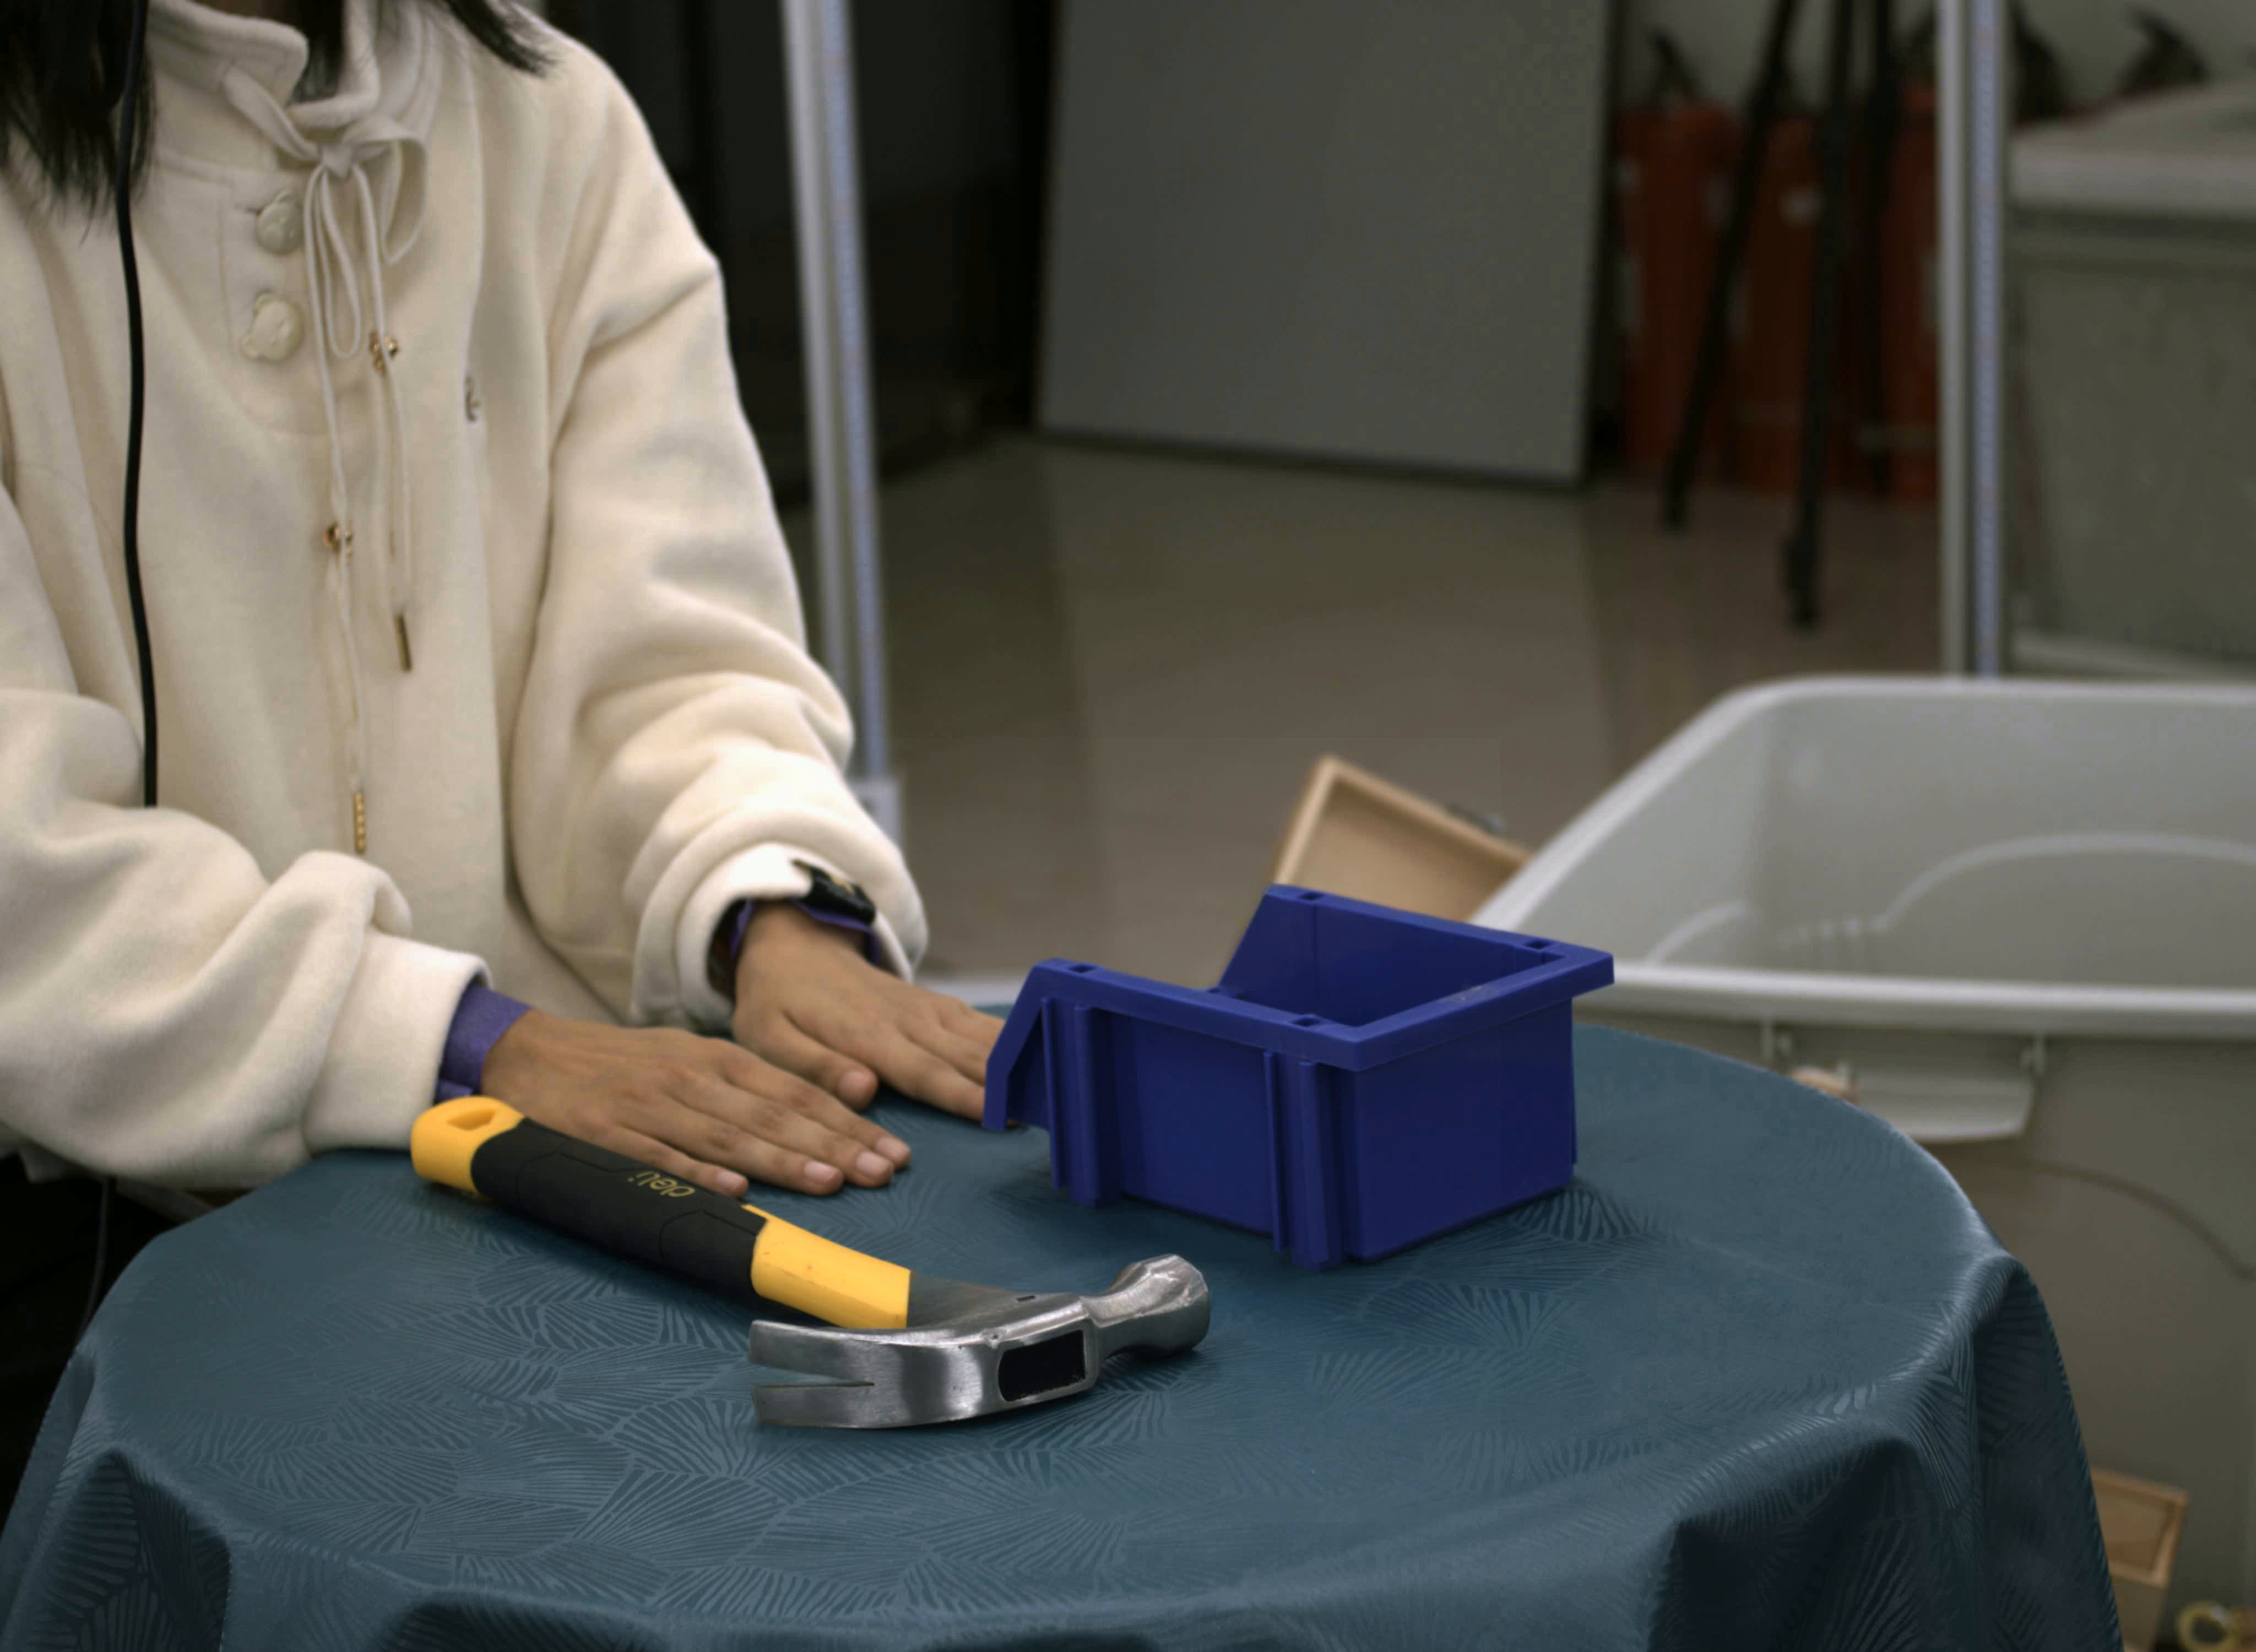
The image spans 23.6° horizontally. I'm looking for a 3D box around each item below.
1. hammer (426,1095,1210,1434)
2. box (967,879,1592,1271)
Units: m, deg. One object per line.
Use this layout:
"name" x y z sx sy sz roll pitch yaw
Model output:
"hammer" -0.125 0.130 1.702 0.128 0.032 0.342 -15 18 -33
"box" 0.046 0.078 1.762 0.122 0.083 0.181 -16 20 -39
